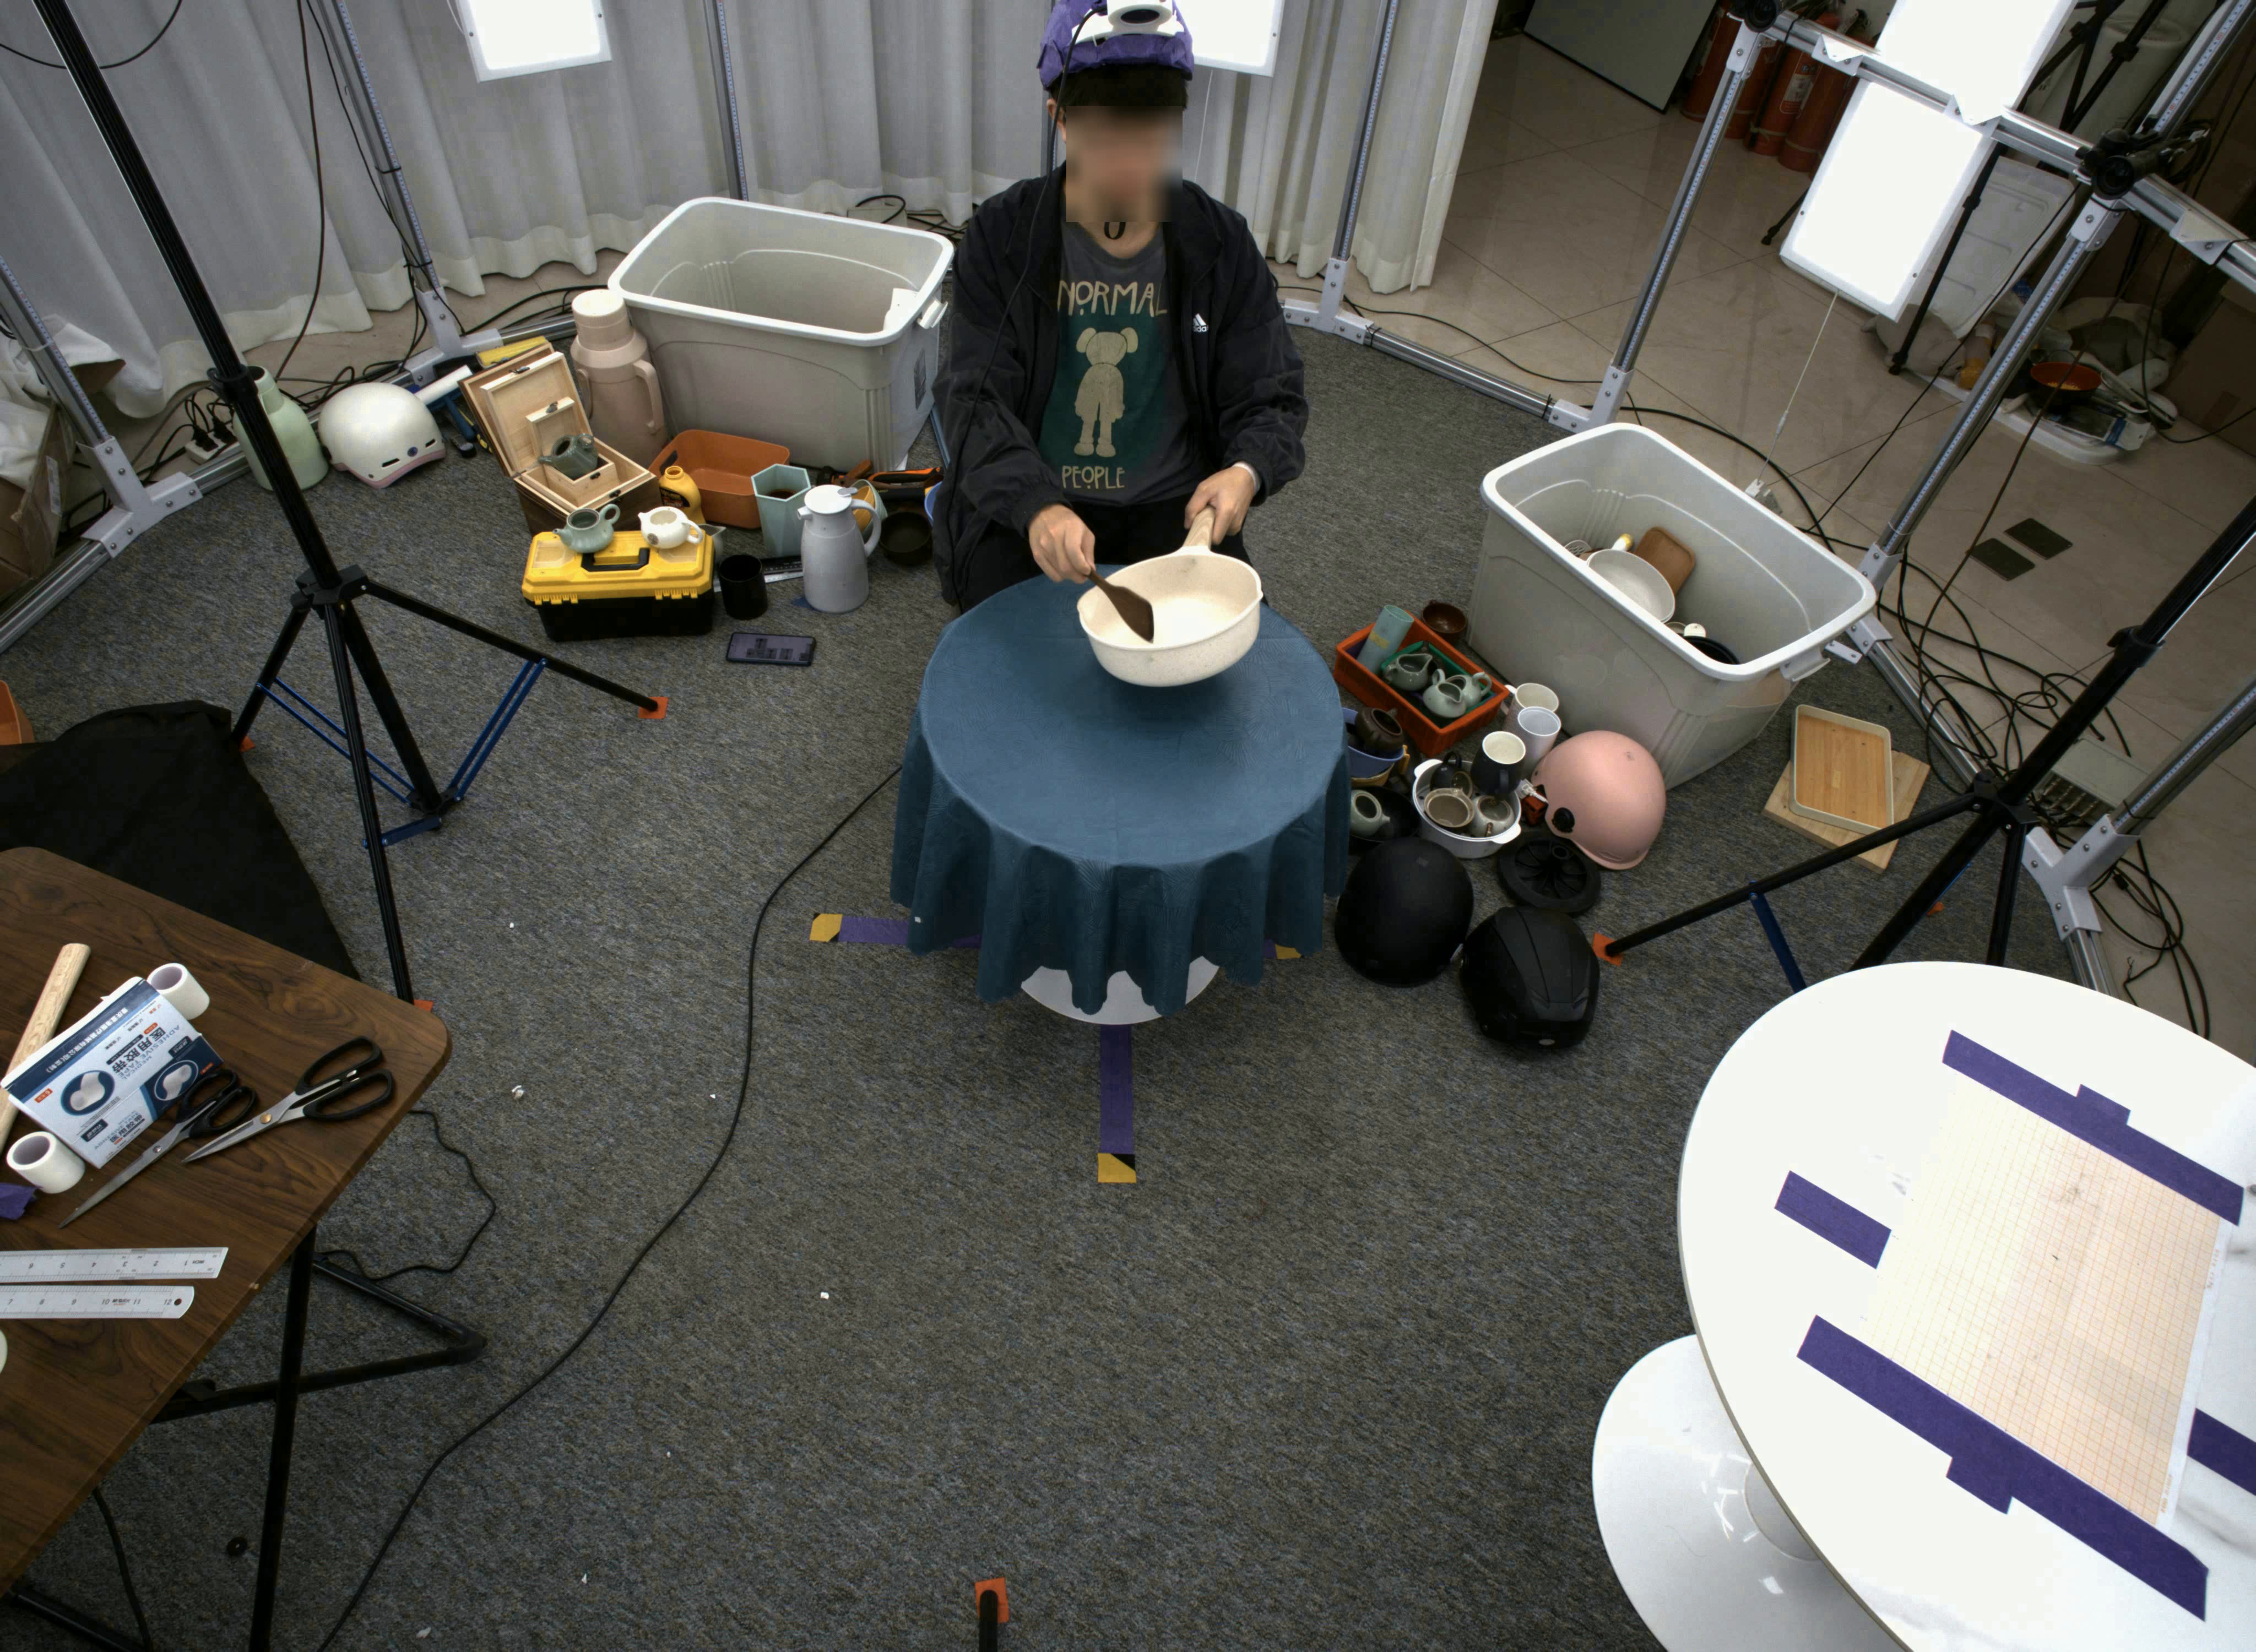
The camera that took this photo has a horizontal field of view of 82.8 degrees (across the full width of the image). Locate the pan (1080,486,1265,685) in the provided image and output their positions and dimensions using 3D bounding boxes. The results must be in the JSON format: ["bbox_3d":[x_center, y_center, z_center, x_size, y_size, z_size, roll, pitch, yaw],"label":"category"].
[{"bbox_3d":[0.091,-0.346,1.842,0.264,0.099,0.444,0,38,20],"label":"pan"}]

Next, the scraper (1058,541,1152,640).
[{"bbox_3d":[-0.034,-0.323,1.730,0.011,0.074,0.215,-31,54,-18],"label":"scraper"}]
